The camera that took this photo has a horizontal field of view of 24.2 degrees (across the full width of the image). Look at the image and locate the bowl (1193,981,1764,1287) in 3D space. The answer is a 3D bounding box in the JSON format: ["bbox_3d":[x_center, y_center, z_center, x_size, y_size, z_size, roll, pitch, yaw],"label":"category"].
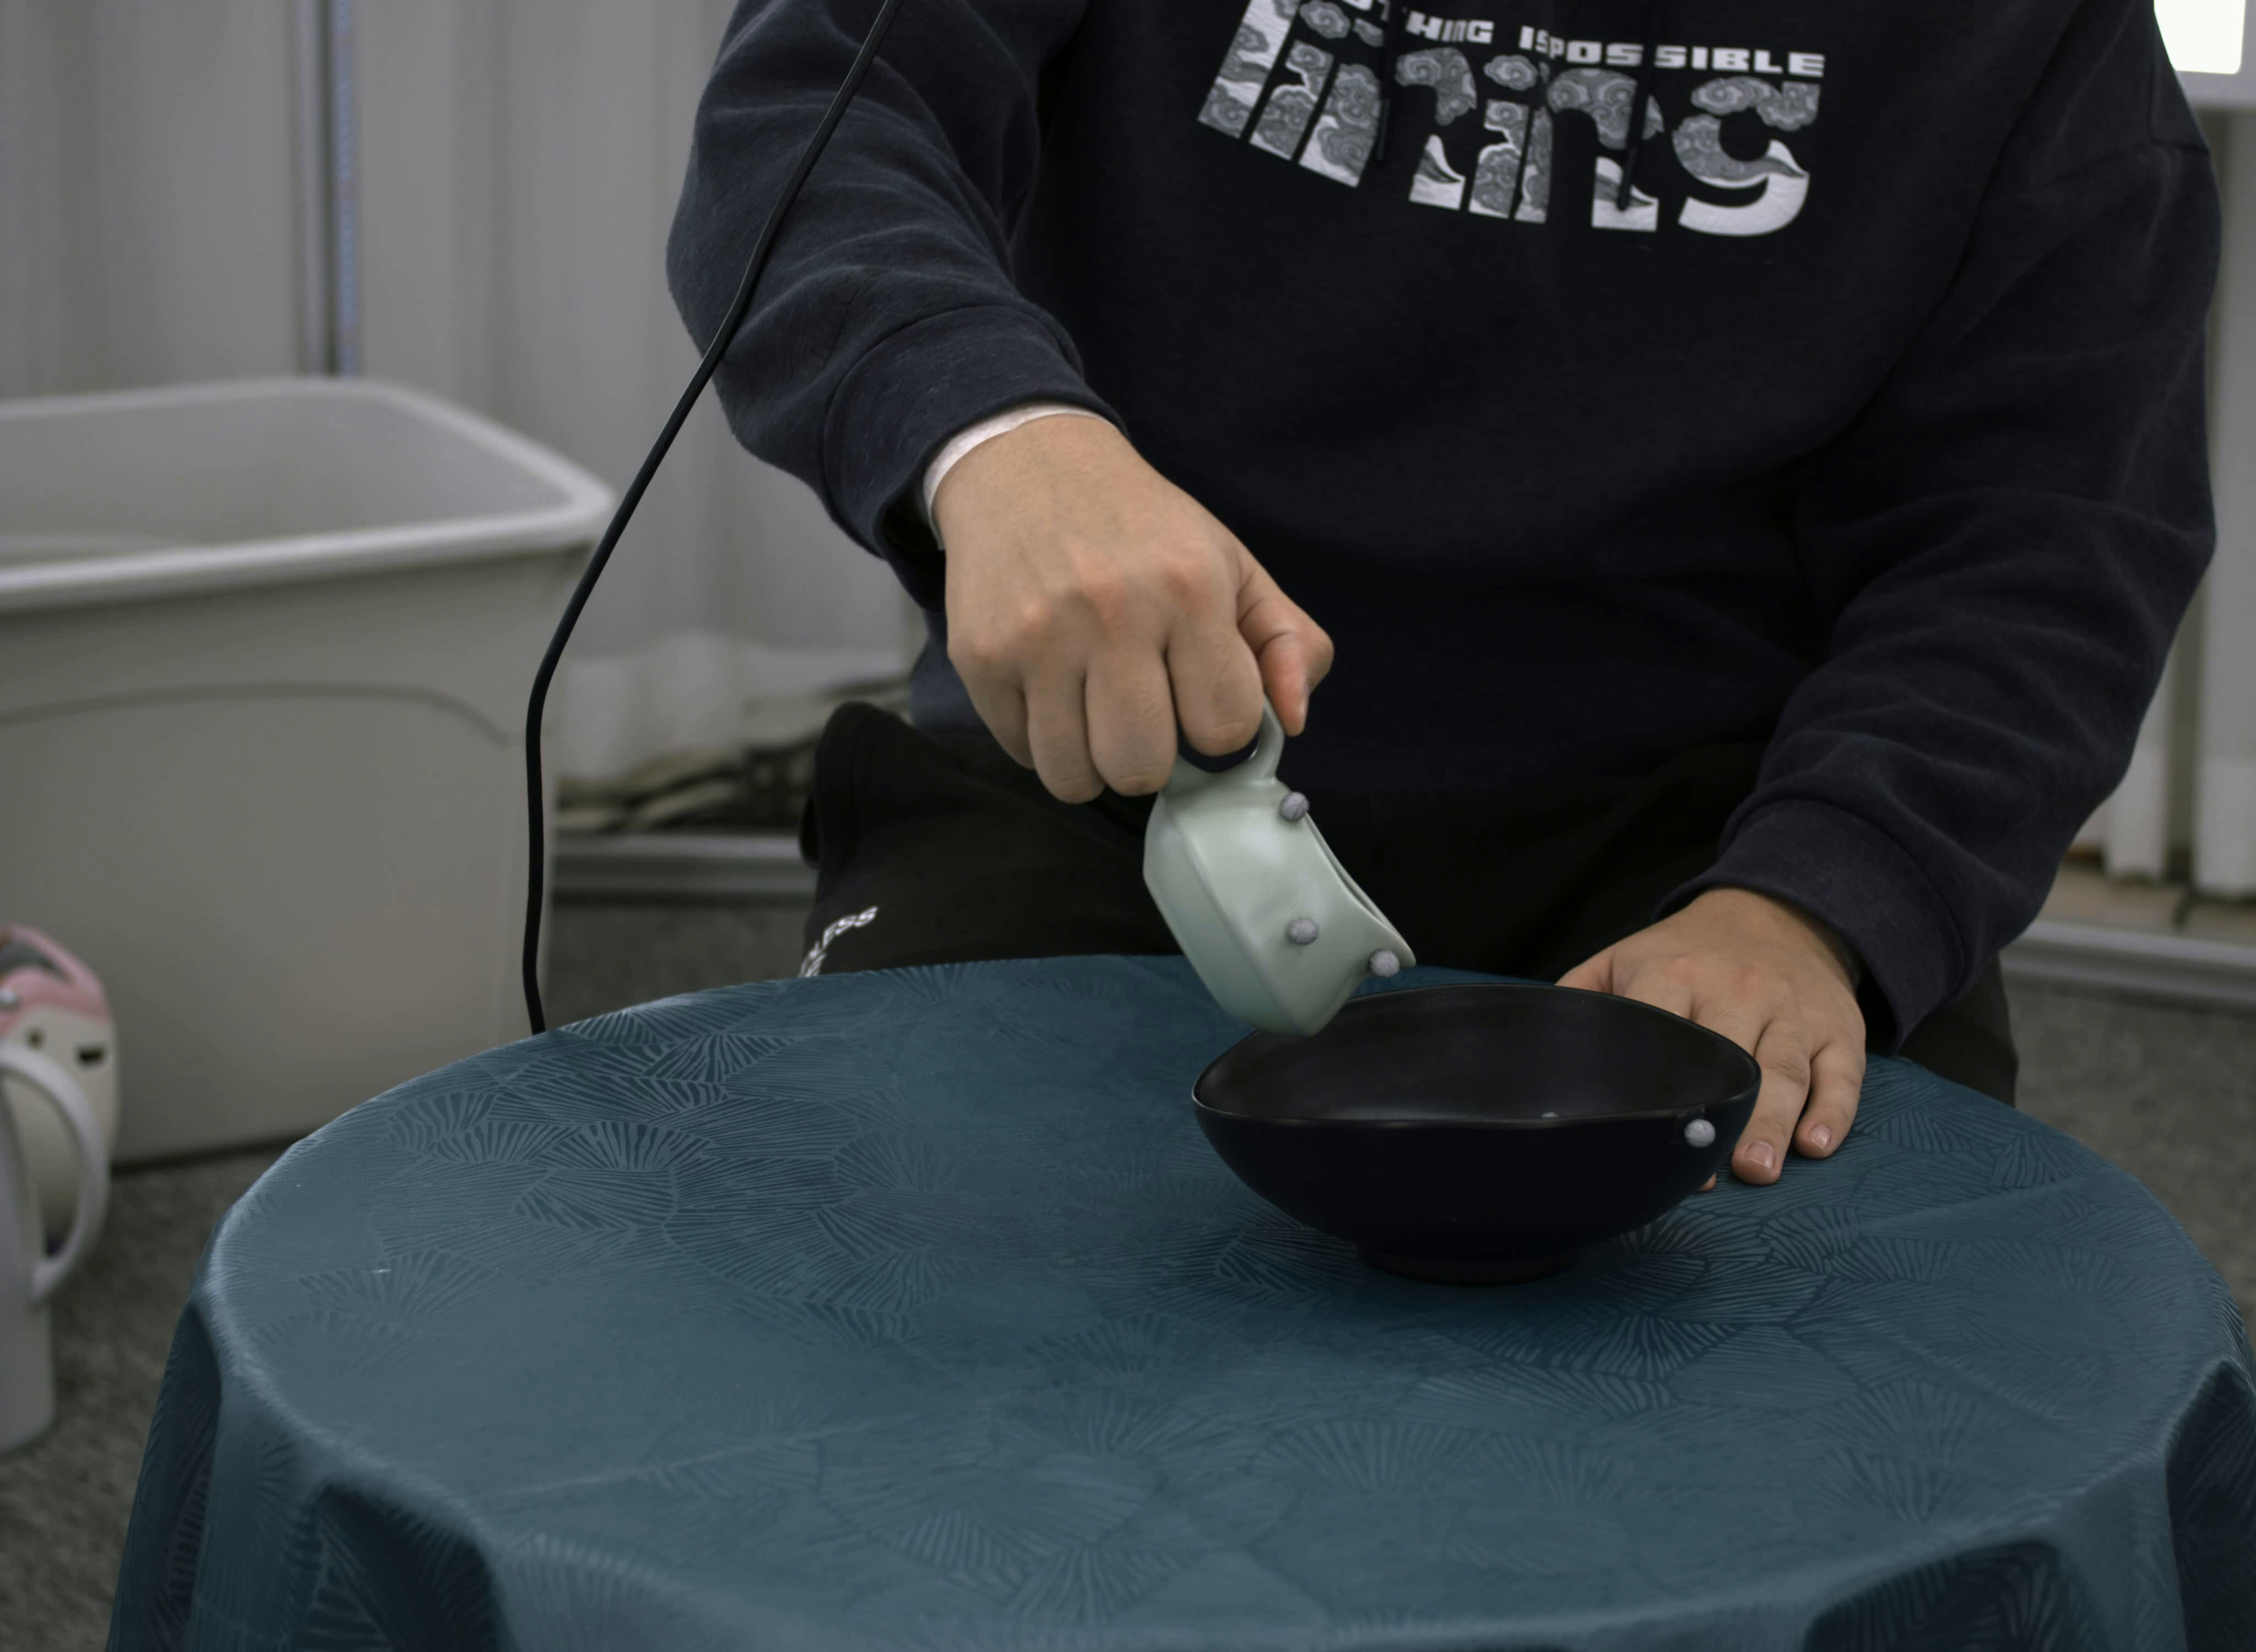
[{"bbox_3d":[0.105,0.097,1.571,0.170,0.067,0.136,-1,15,-4],"label":"bowl"}]

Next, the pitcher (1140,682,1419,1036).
[{"bbox_3d":[0.034,0.010,1.536,0.060,0.109,0.085,-33,14,4],"label":"pitcher"}]
